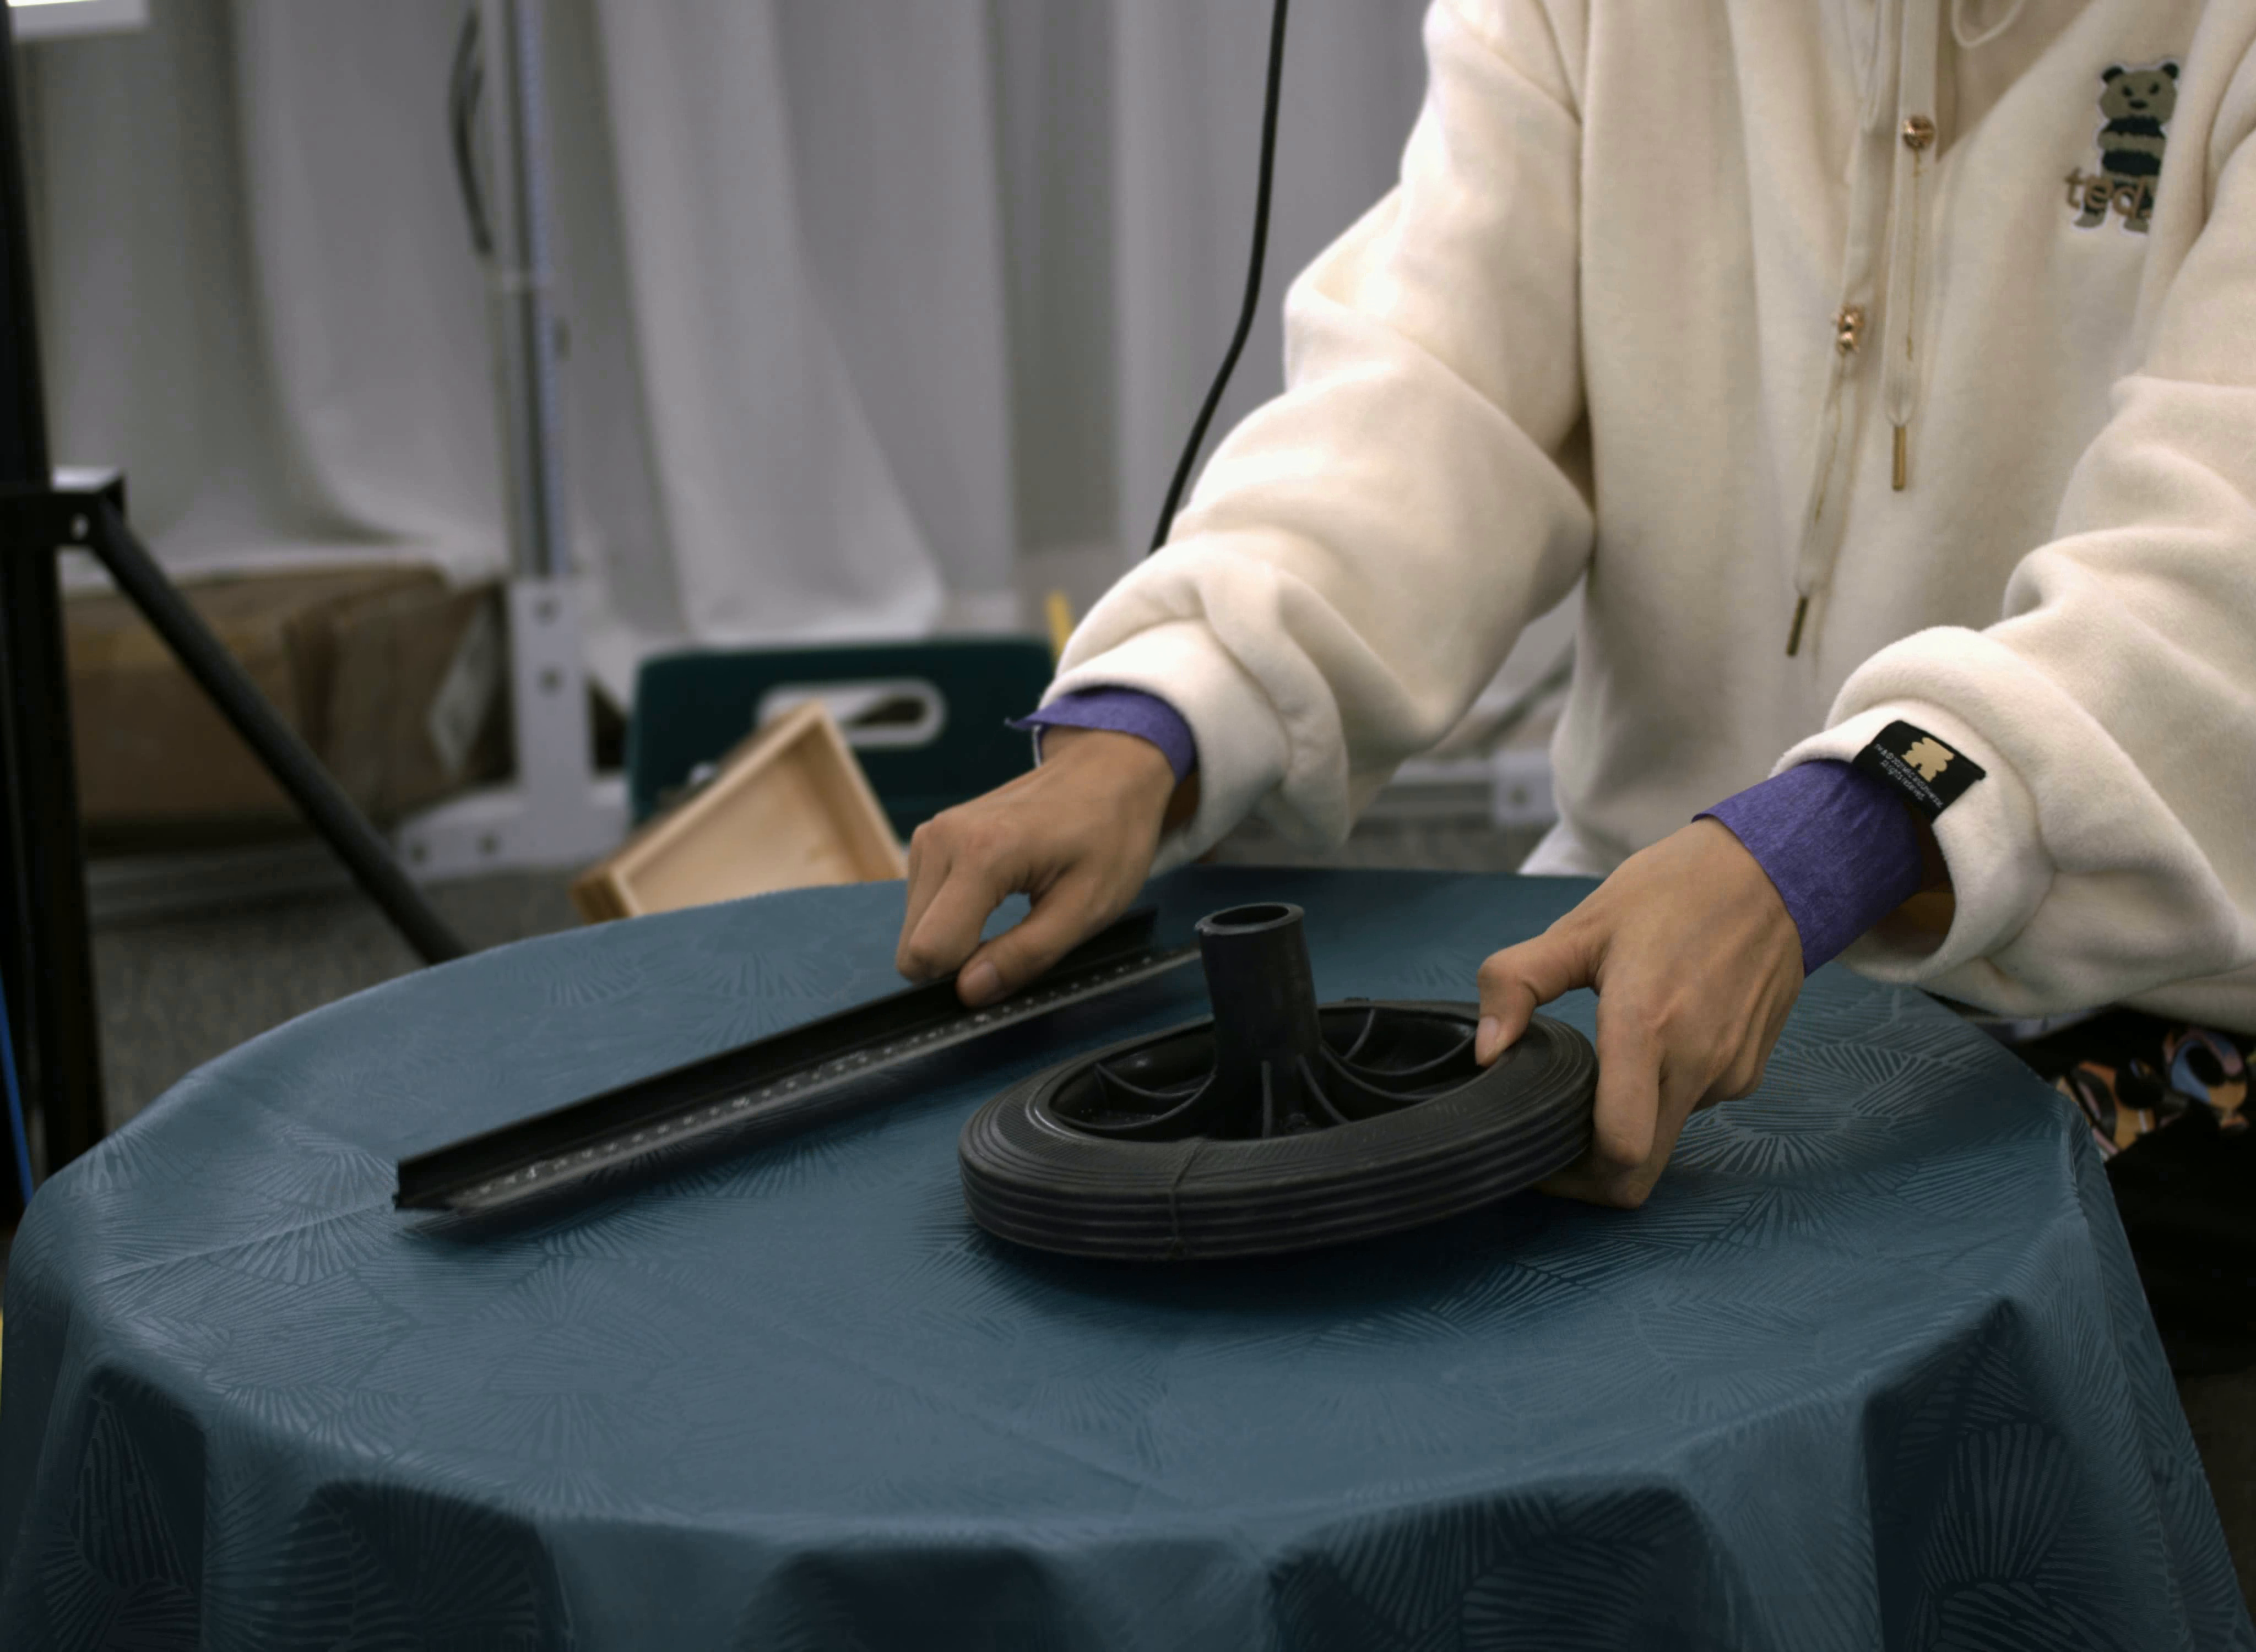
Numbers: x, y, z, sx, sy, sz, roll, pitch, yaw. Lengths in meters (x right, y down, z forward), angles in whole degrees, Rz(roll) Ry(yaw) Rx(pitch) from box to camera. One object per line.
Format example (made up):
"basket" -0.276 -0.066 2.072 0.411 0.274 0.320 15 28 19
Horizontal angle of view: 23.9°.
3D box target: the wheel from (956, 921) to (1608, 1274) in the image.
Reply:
"wheel" 0.042 0.070 1.530 0.183 0.079 0.194 -16 15 -30

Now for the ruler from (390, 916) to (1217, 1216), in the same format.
"ruler" -0.093 0.071 1.640 0.305 0.017 0.040 -17 15 -39
